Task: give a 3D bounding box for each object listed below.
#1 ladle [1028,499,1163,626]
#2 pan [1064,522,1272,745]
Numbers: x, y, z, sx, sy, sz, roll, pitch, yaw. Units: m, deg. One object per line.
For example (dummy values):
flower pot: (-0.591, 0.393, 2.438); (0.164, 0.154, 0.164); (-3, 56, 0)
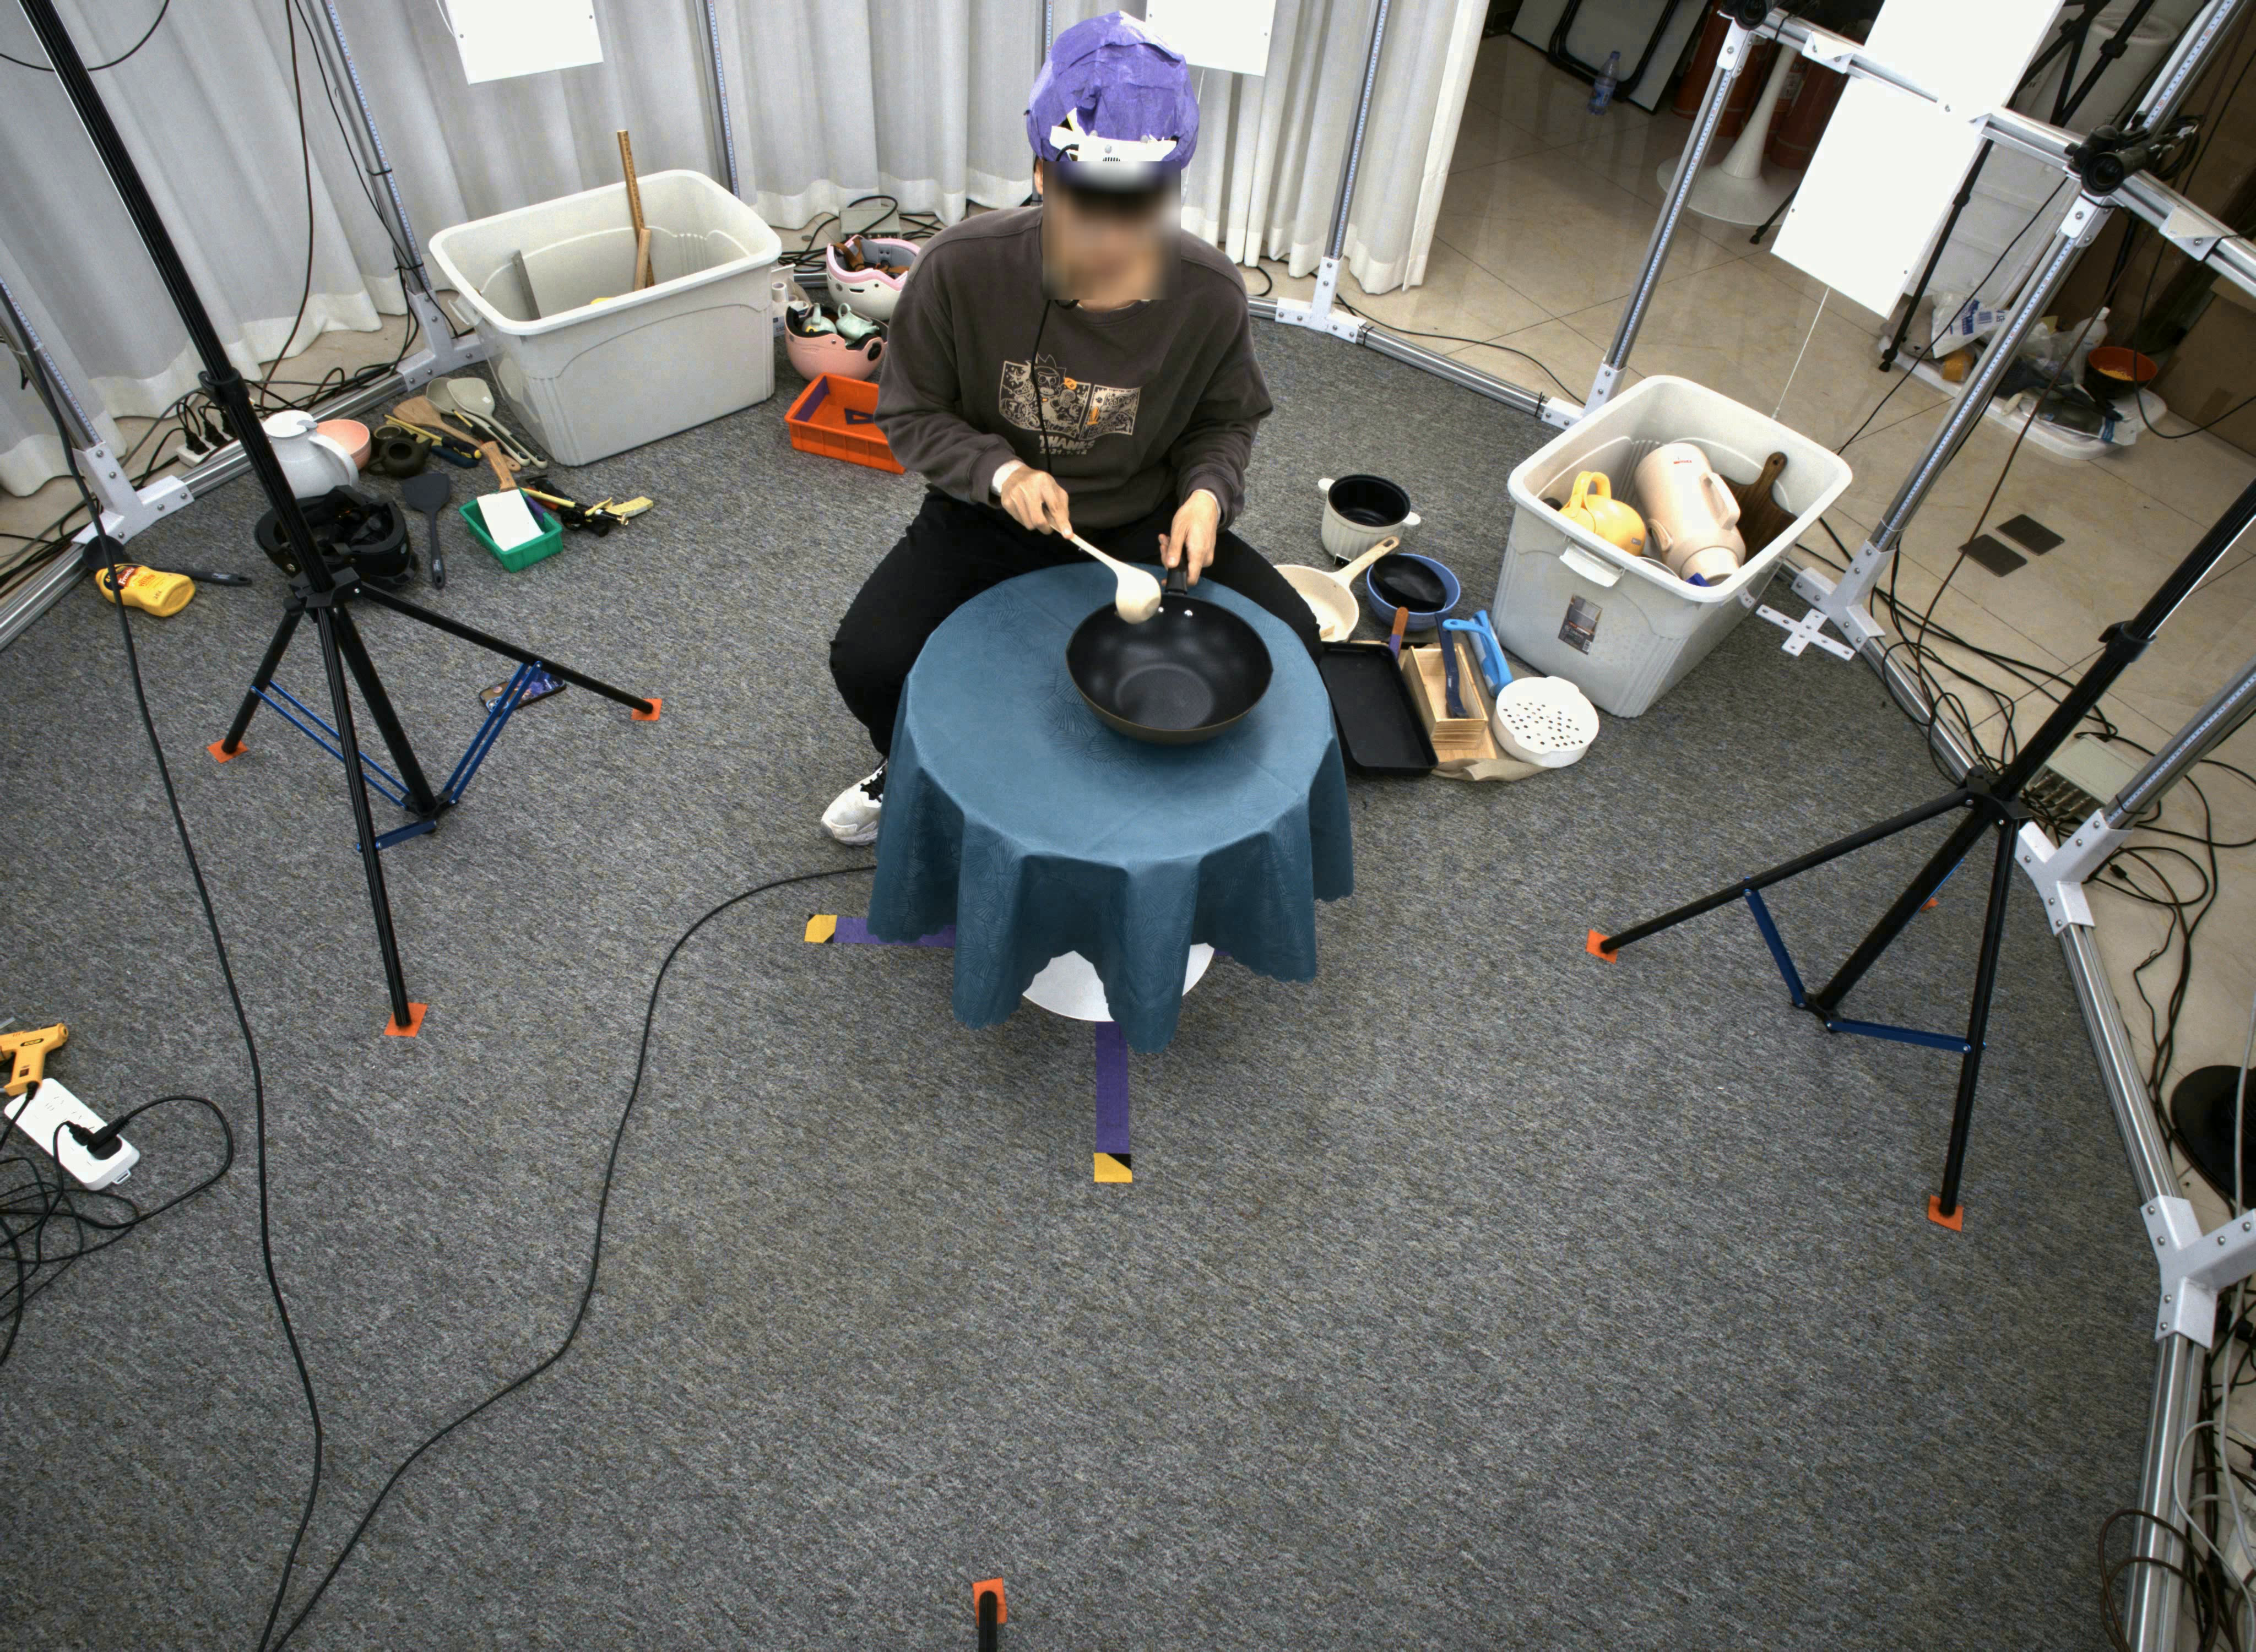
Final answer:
ladle: (-0.053, -0.374, 1.828); (0.072, 0.071, 0.258); (-38, 61, -21)
pan: (0.062, -0.274, 1.855); (0.288, 0.085, 0.474); (6, 47, 2)
